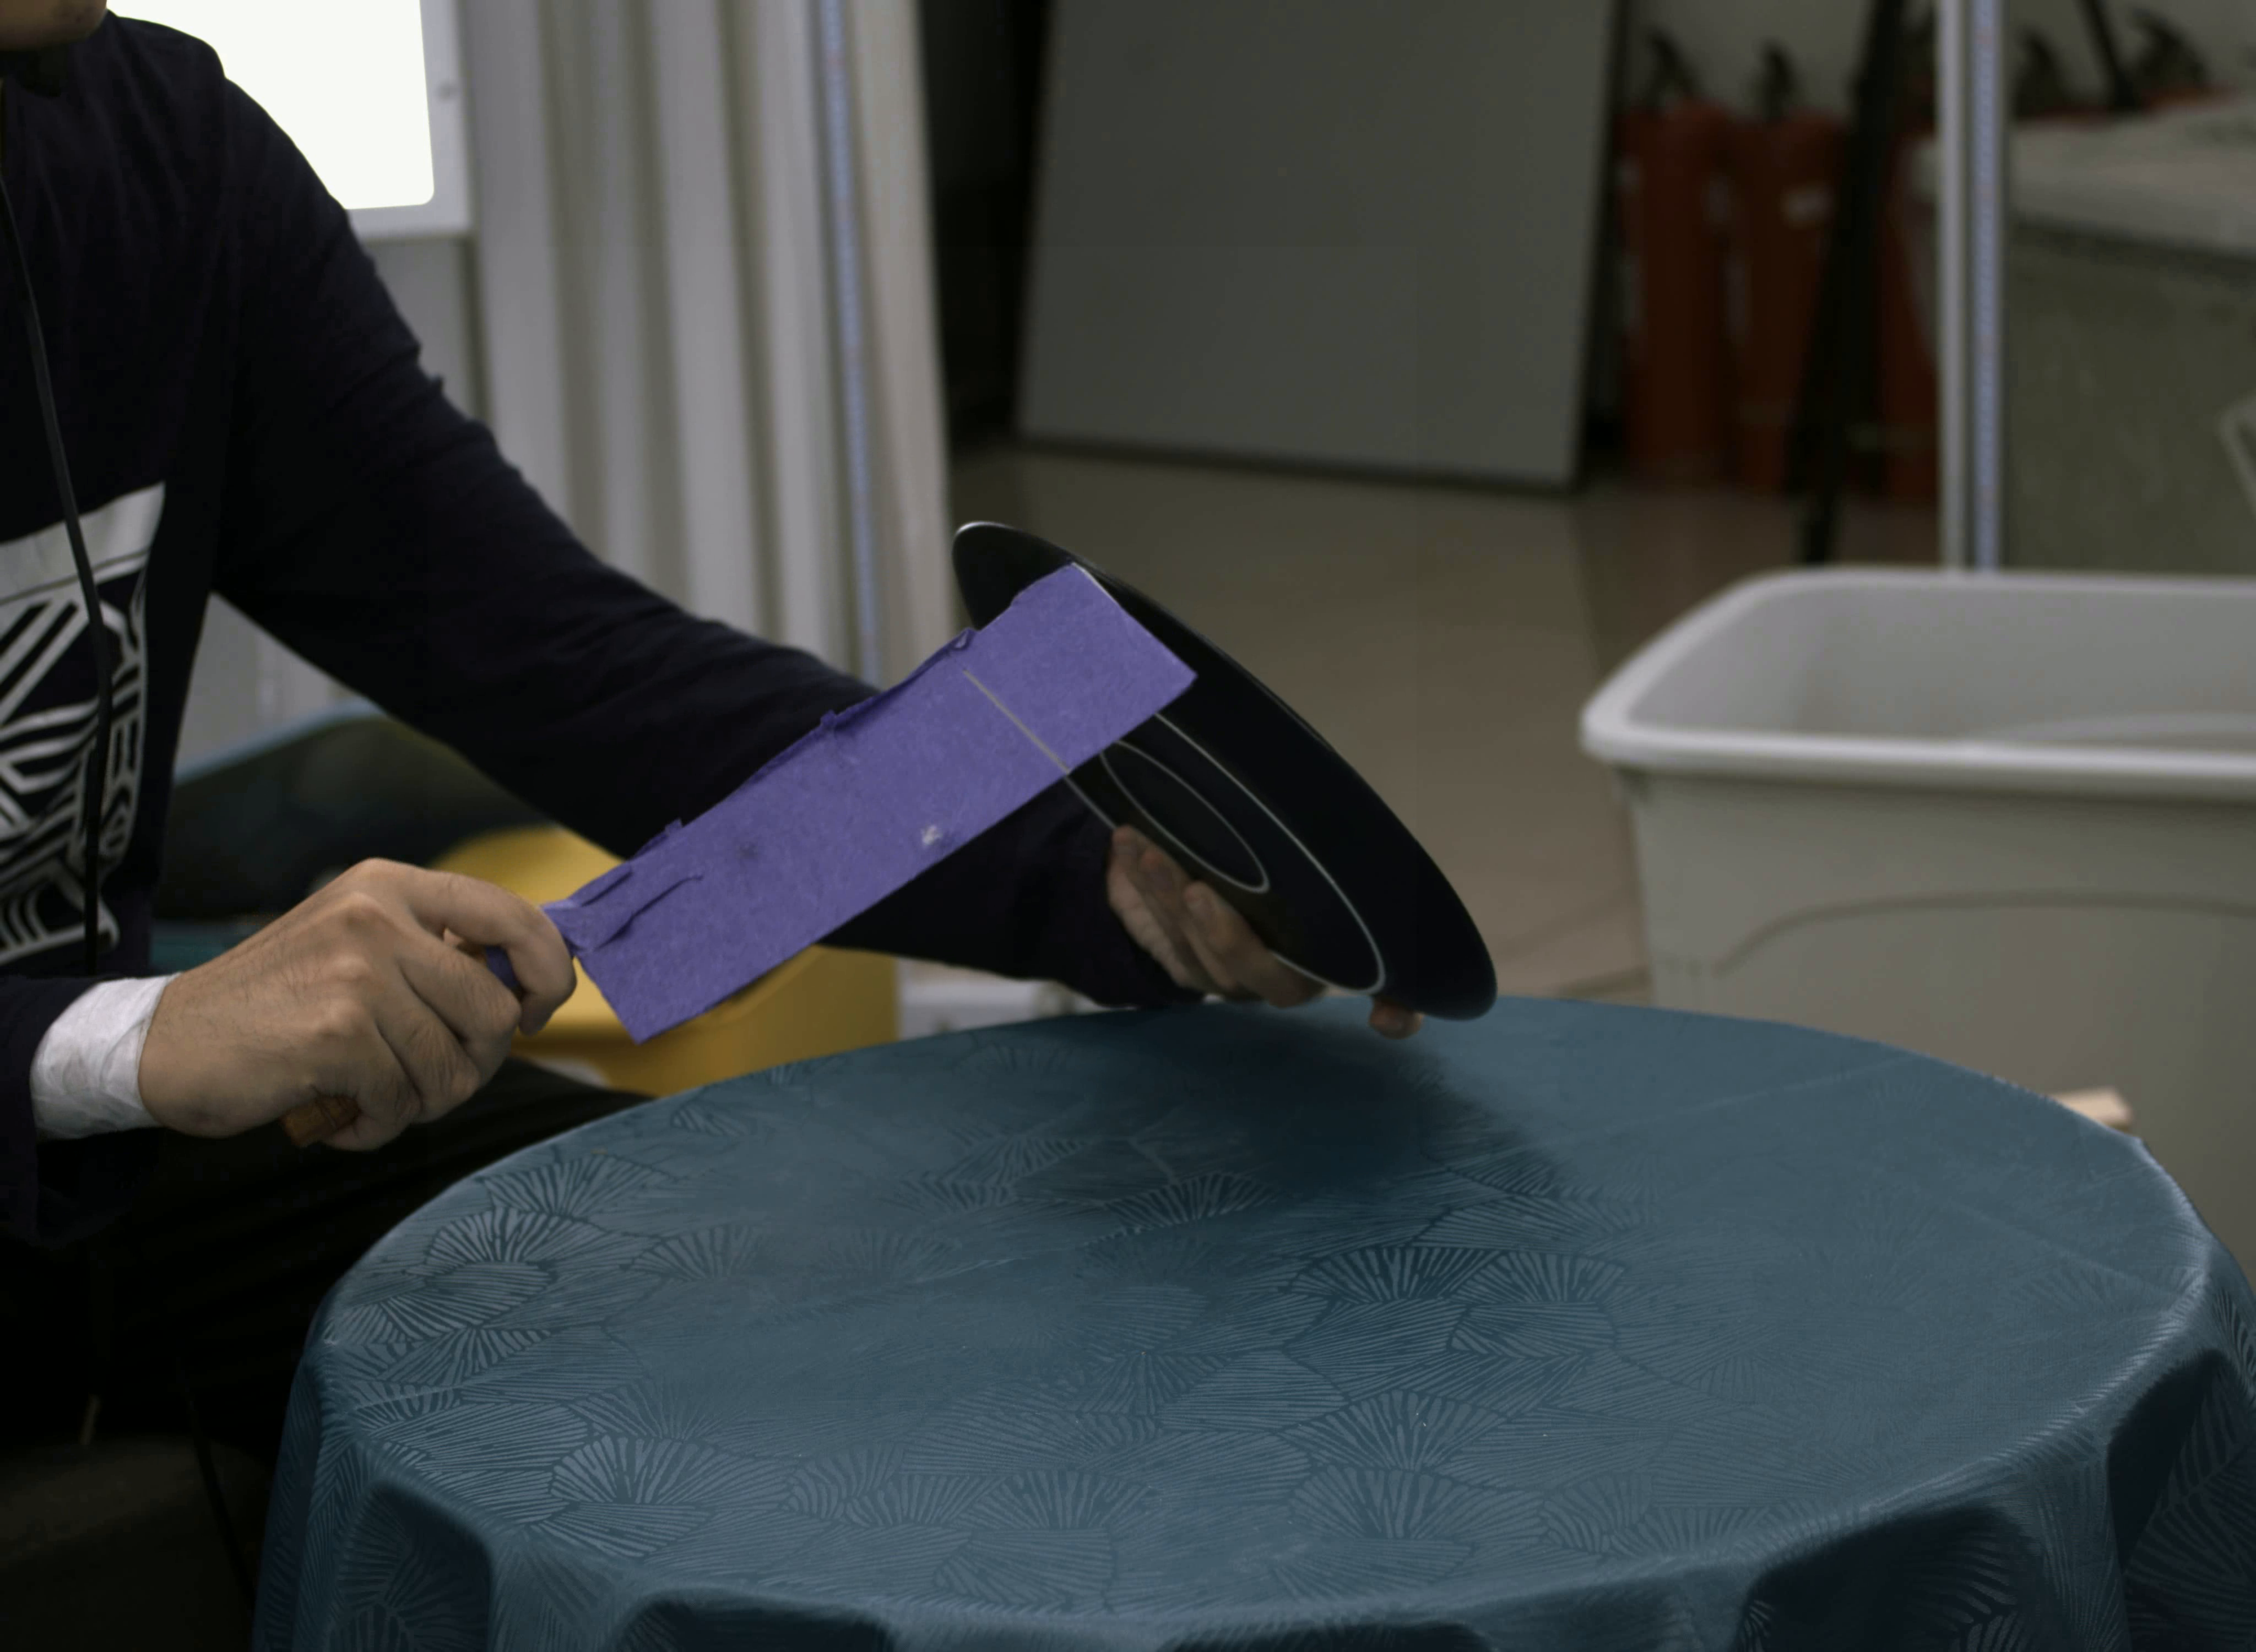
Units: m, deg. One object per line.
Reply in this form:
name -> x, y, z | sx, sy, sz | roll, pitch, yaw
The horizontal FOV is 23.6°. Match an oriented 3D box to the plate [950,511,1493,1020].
plate -> 0.025, -0.013, 1.824 | 0.023, 0.242, 0.247 | -47, 28, -13

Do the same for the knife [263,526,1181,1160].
knife -> -0.124, 0.013, 1.675 | 0.313, 0.032, 0.105 | -37, 35, -6
